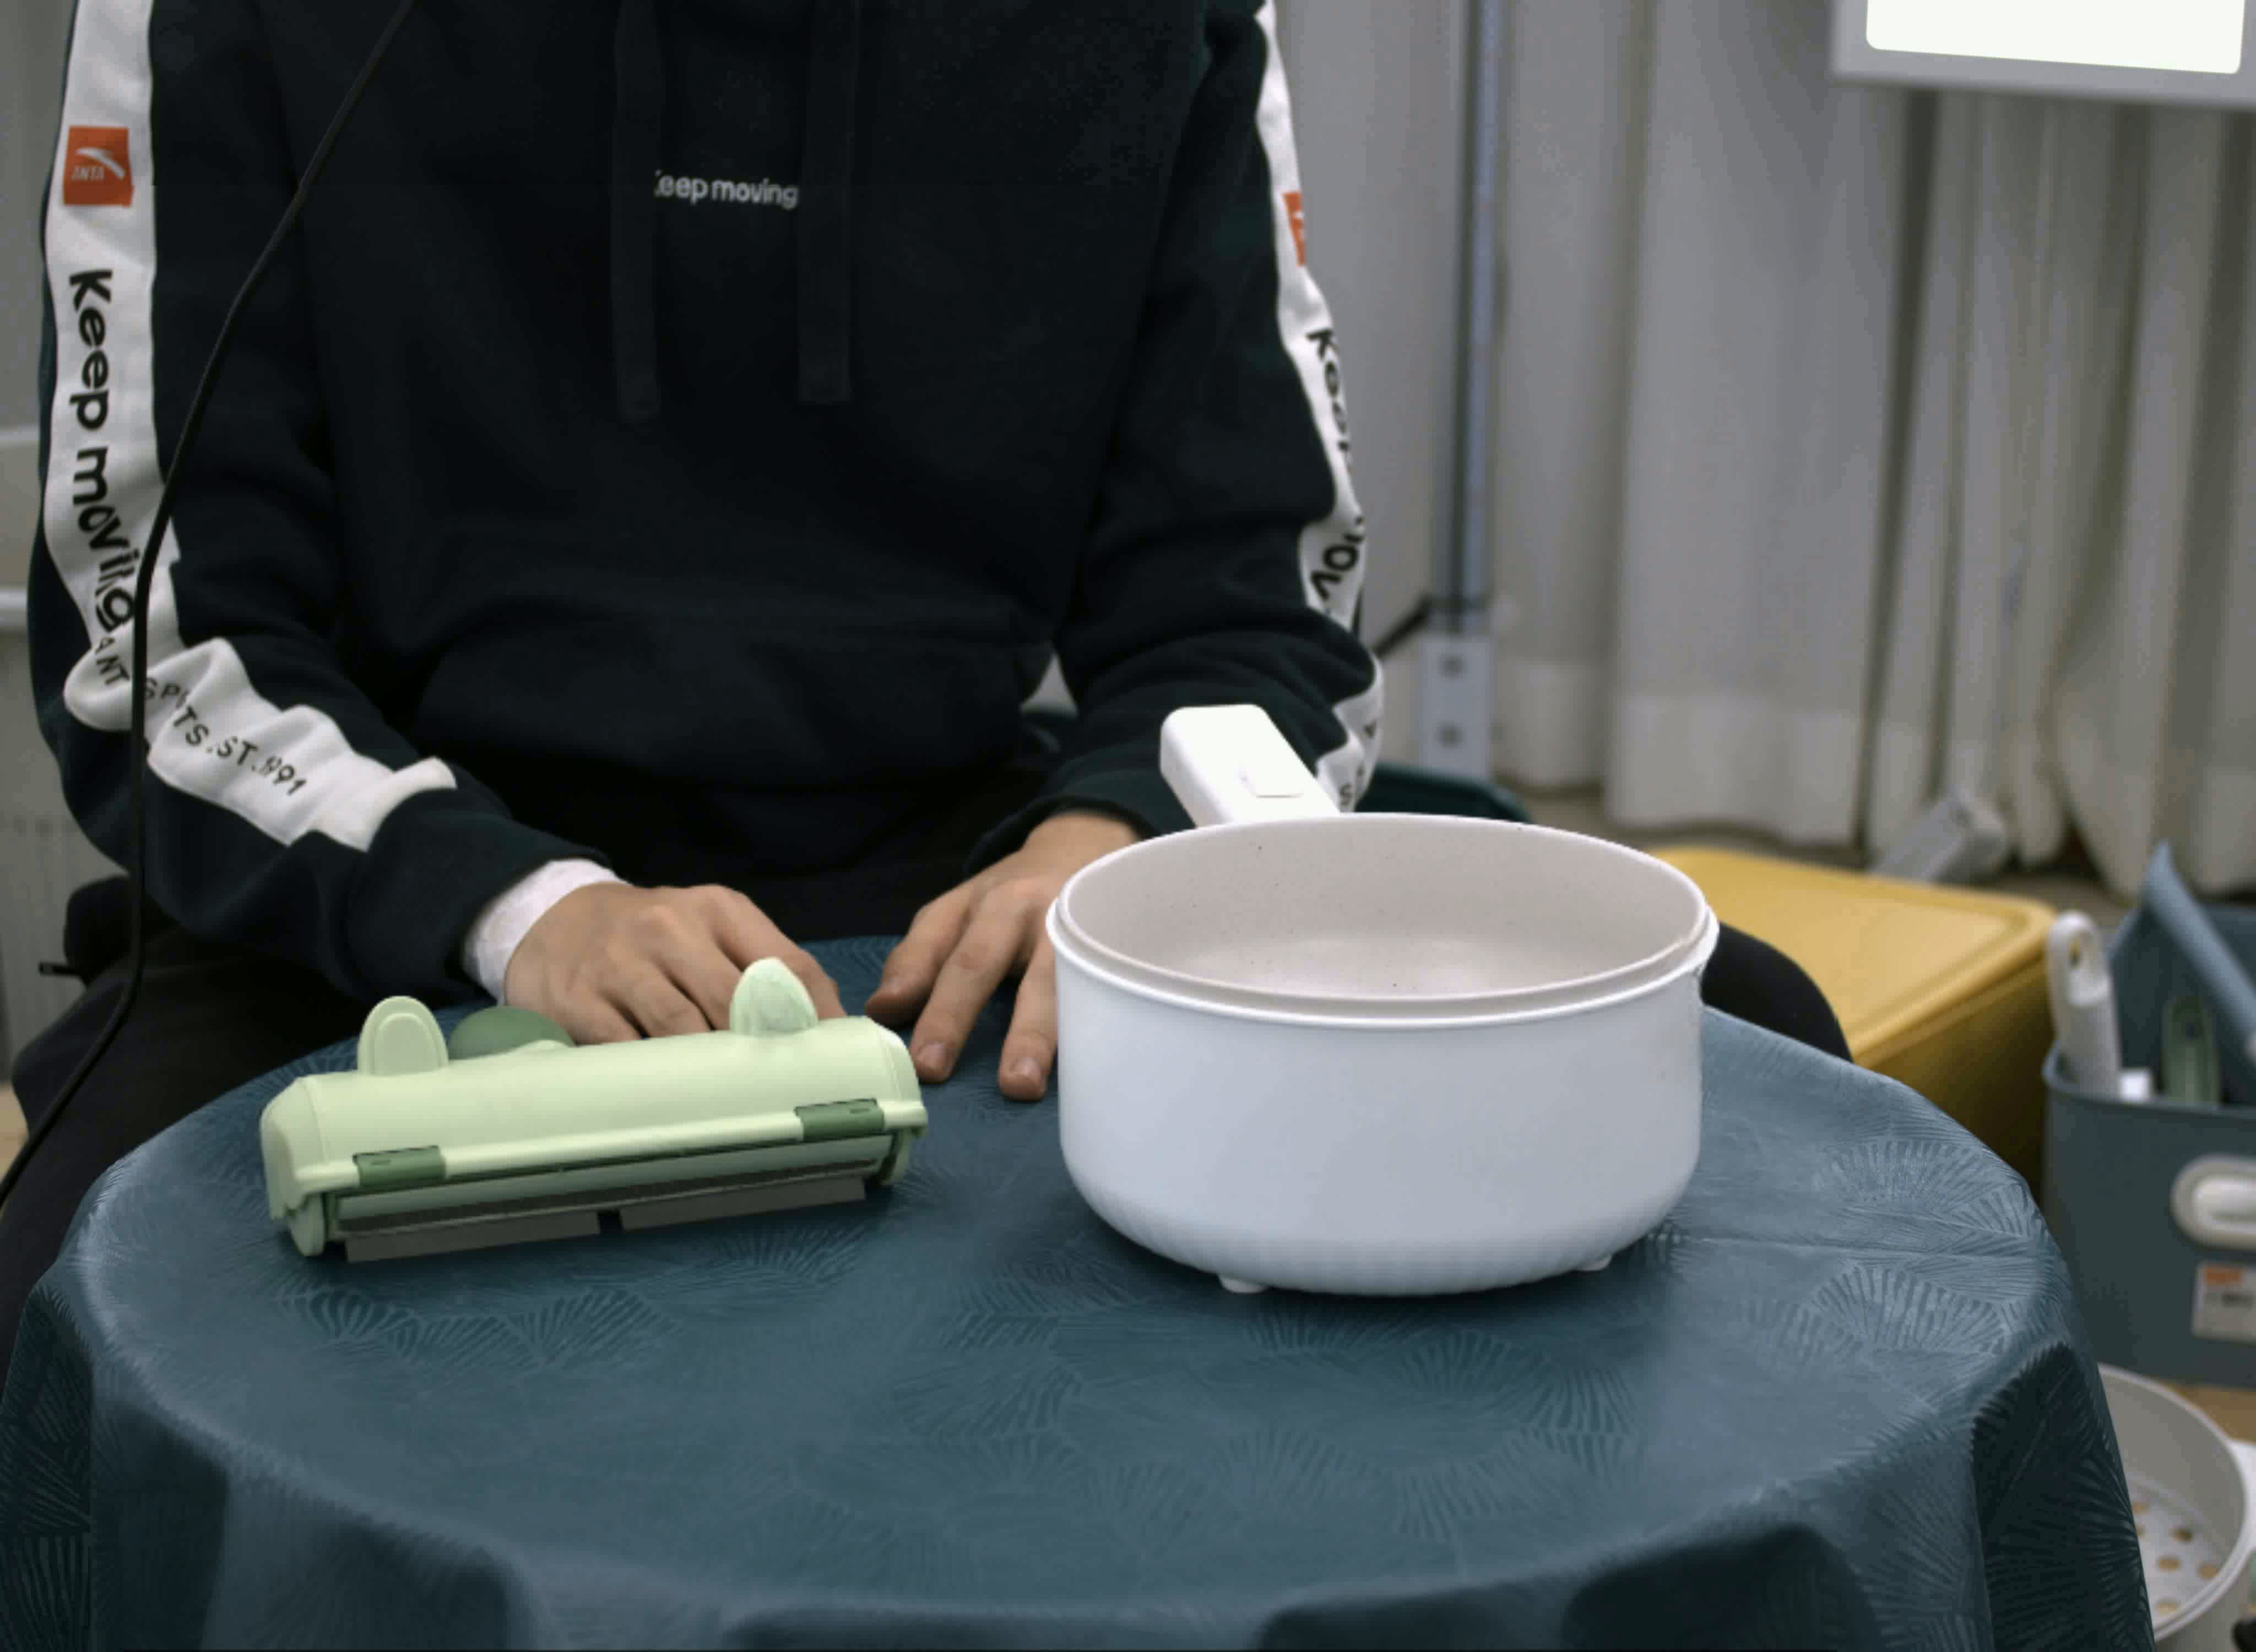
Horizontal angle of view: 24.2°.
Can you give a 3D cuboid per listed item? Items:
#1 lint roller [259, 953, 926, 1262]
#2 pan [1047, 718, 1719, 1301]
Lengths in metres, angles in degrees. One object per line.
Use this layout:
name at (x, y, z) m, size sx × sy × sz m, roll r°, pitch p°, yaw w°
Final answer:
lint roller at (-0.180, 0.067, 1.632) m, size 0.199 × 0.083 × 0.181 m, roll -6°, pitch 23°, yaw -20°
pan at (0.063, 0.053, 1.656) m, size 0.201 × 0.103 × 0.352 m, roll -4°, pitch 15°, yaw -10°
